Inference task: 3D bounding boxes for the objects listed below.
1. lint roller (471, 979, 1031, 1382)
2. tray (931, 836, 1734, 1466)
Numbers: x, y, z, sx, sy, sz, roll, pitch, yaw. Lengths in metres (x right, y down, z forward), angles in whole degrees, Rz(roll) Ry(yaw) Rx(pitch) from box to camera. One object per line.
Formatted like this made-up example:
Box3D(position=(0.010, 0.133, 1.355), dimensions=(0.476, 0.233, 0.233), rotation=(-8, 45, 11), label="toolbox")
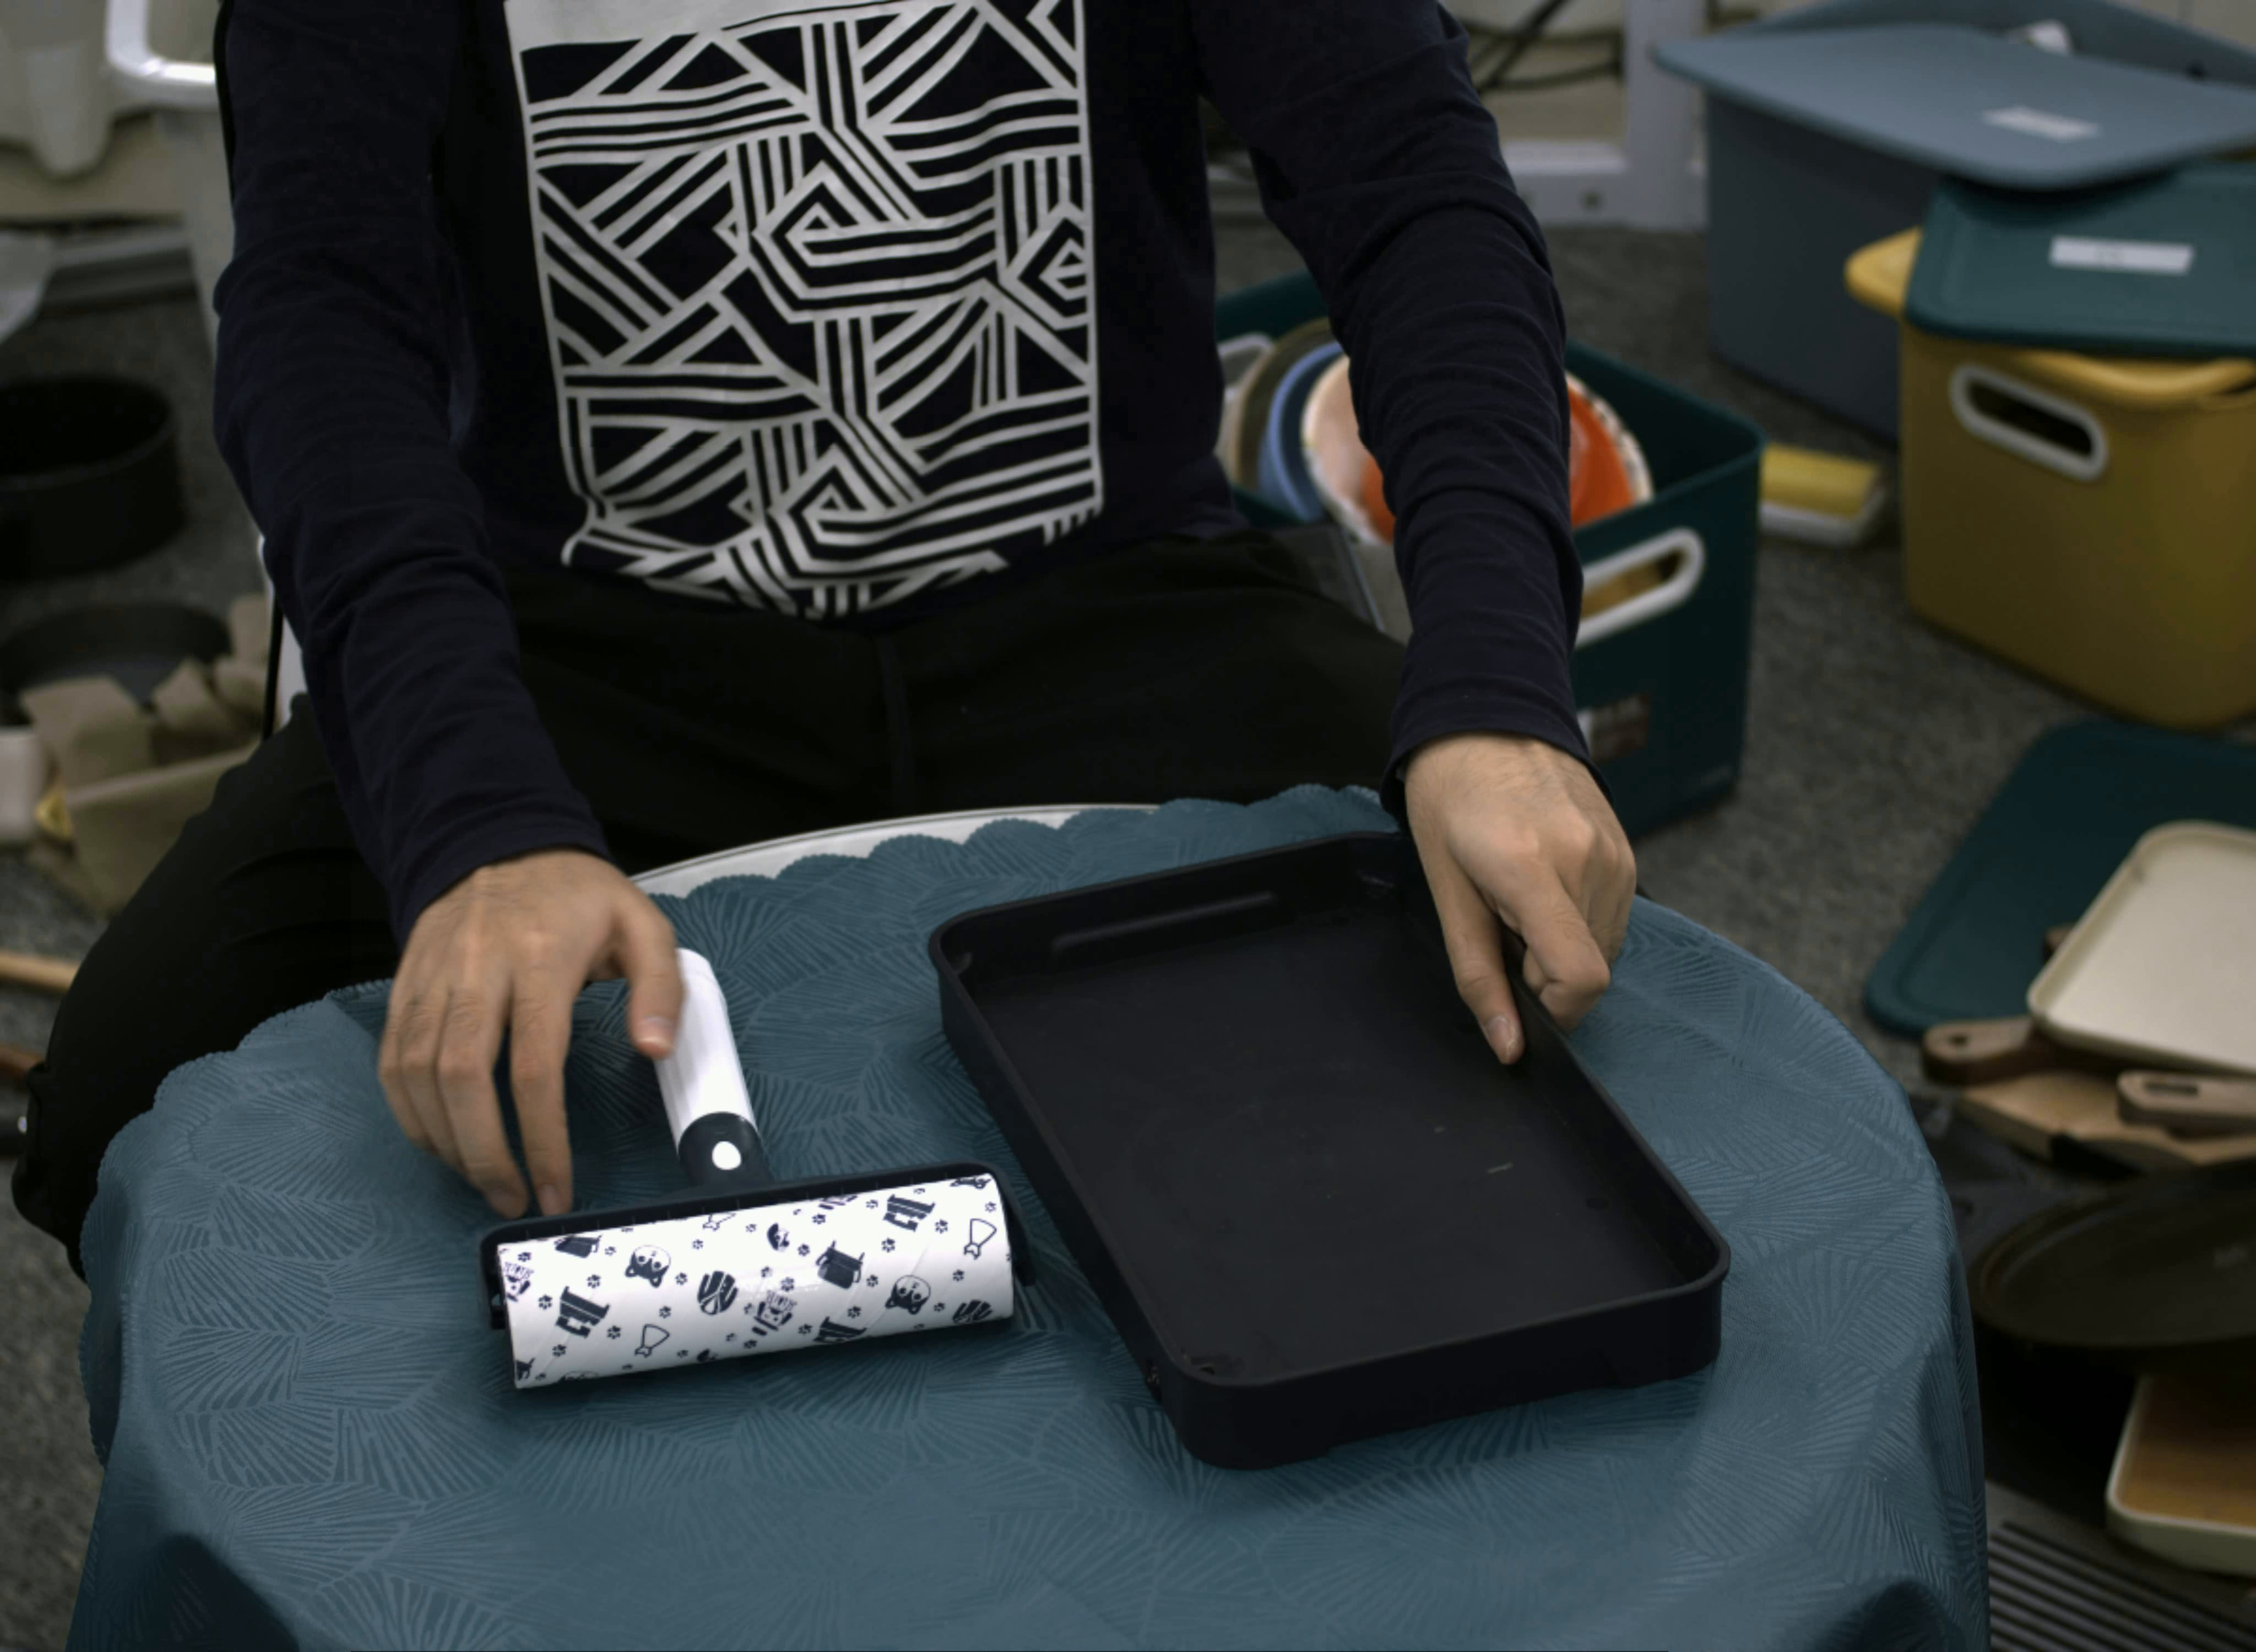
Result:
Box3D(position=(-0.139, 0.103, 1.868), dimensions=(0.176, 0.050, 0.249), rotation=(-8, 25, -9), label="lint roller")
Box3D(position=(0.060, 0.100, 1.855), dimensions=(0.184, 0.036, 0.321), rotation=(-10, 28, -14), label="tray")
